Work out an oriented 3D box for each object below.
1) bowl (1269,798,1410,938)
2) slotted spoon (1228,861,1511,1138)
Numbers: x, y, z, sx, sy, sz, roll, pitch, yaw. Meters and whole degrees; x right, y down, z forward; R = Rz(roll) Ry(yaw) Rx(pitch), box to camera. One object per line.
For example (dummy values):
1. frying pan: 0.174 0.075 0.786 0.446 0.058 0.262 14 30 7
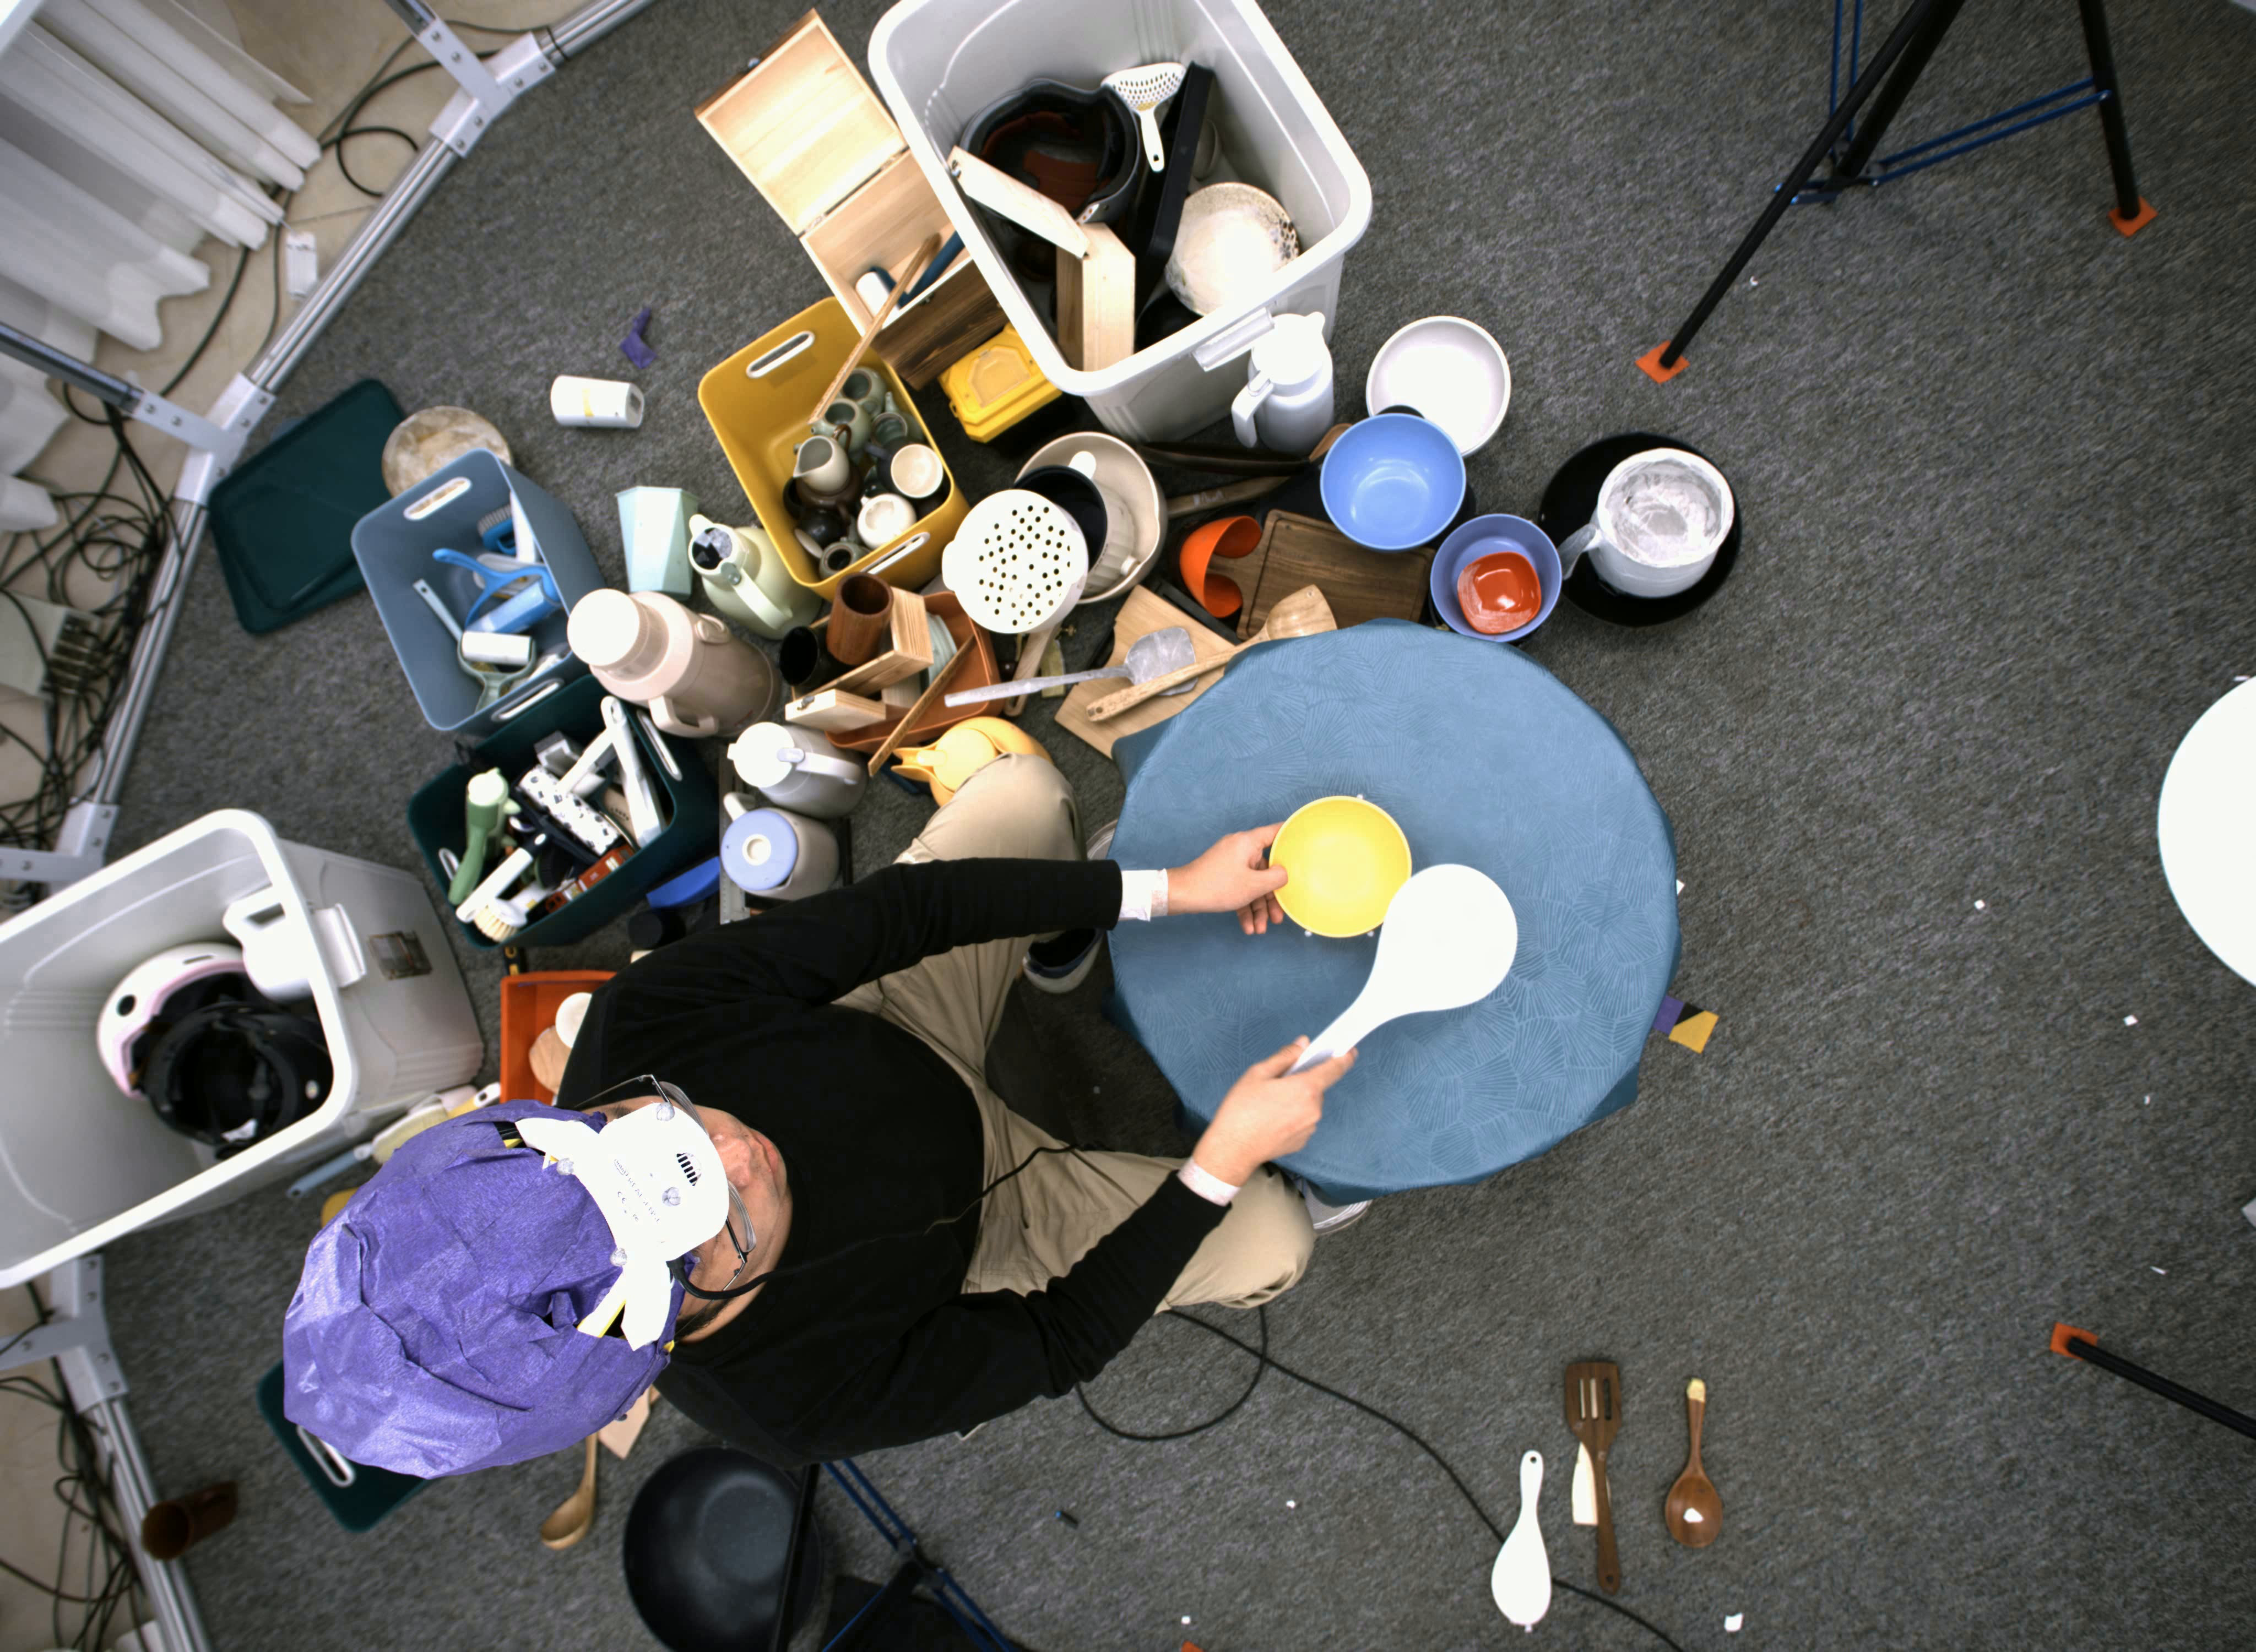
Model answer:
1. bowl: 0.220 0.045 1.442 0.146 0.060 0.144 -1 85 10
2. slotted spoon: 0.231 0.173 1.349 0.347 0.046 0.137 -44 101 -8
